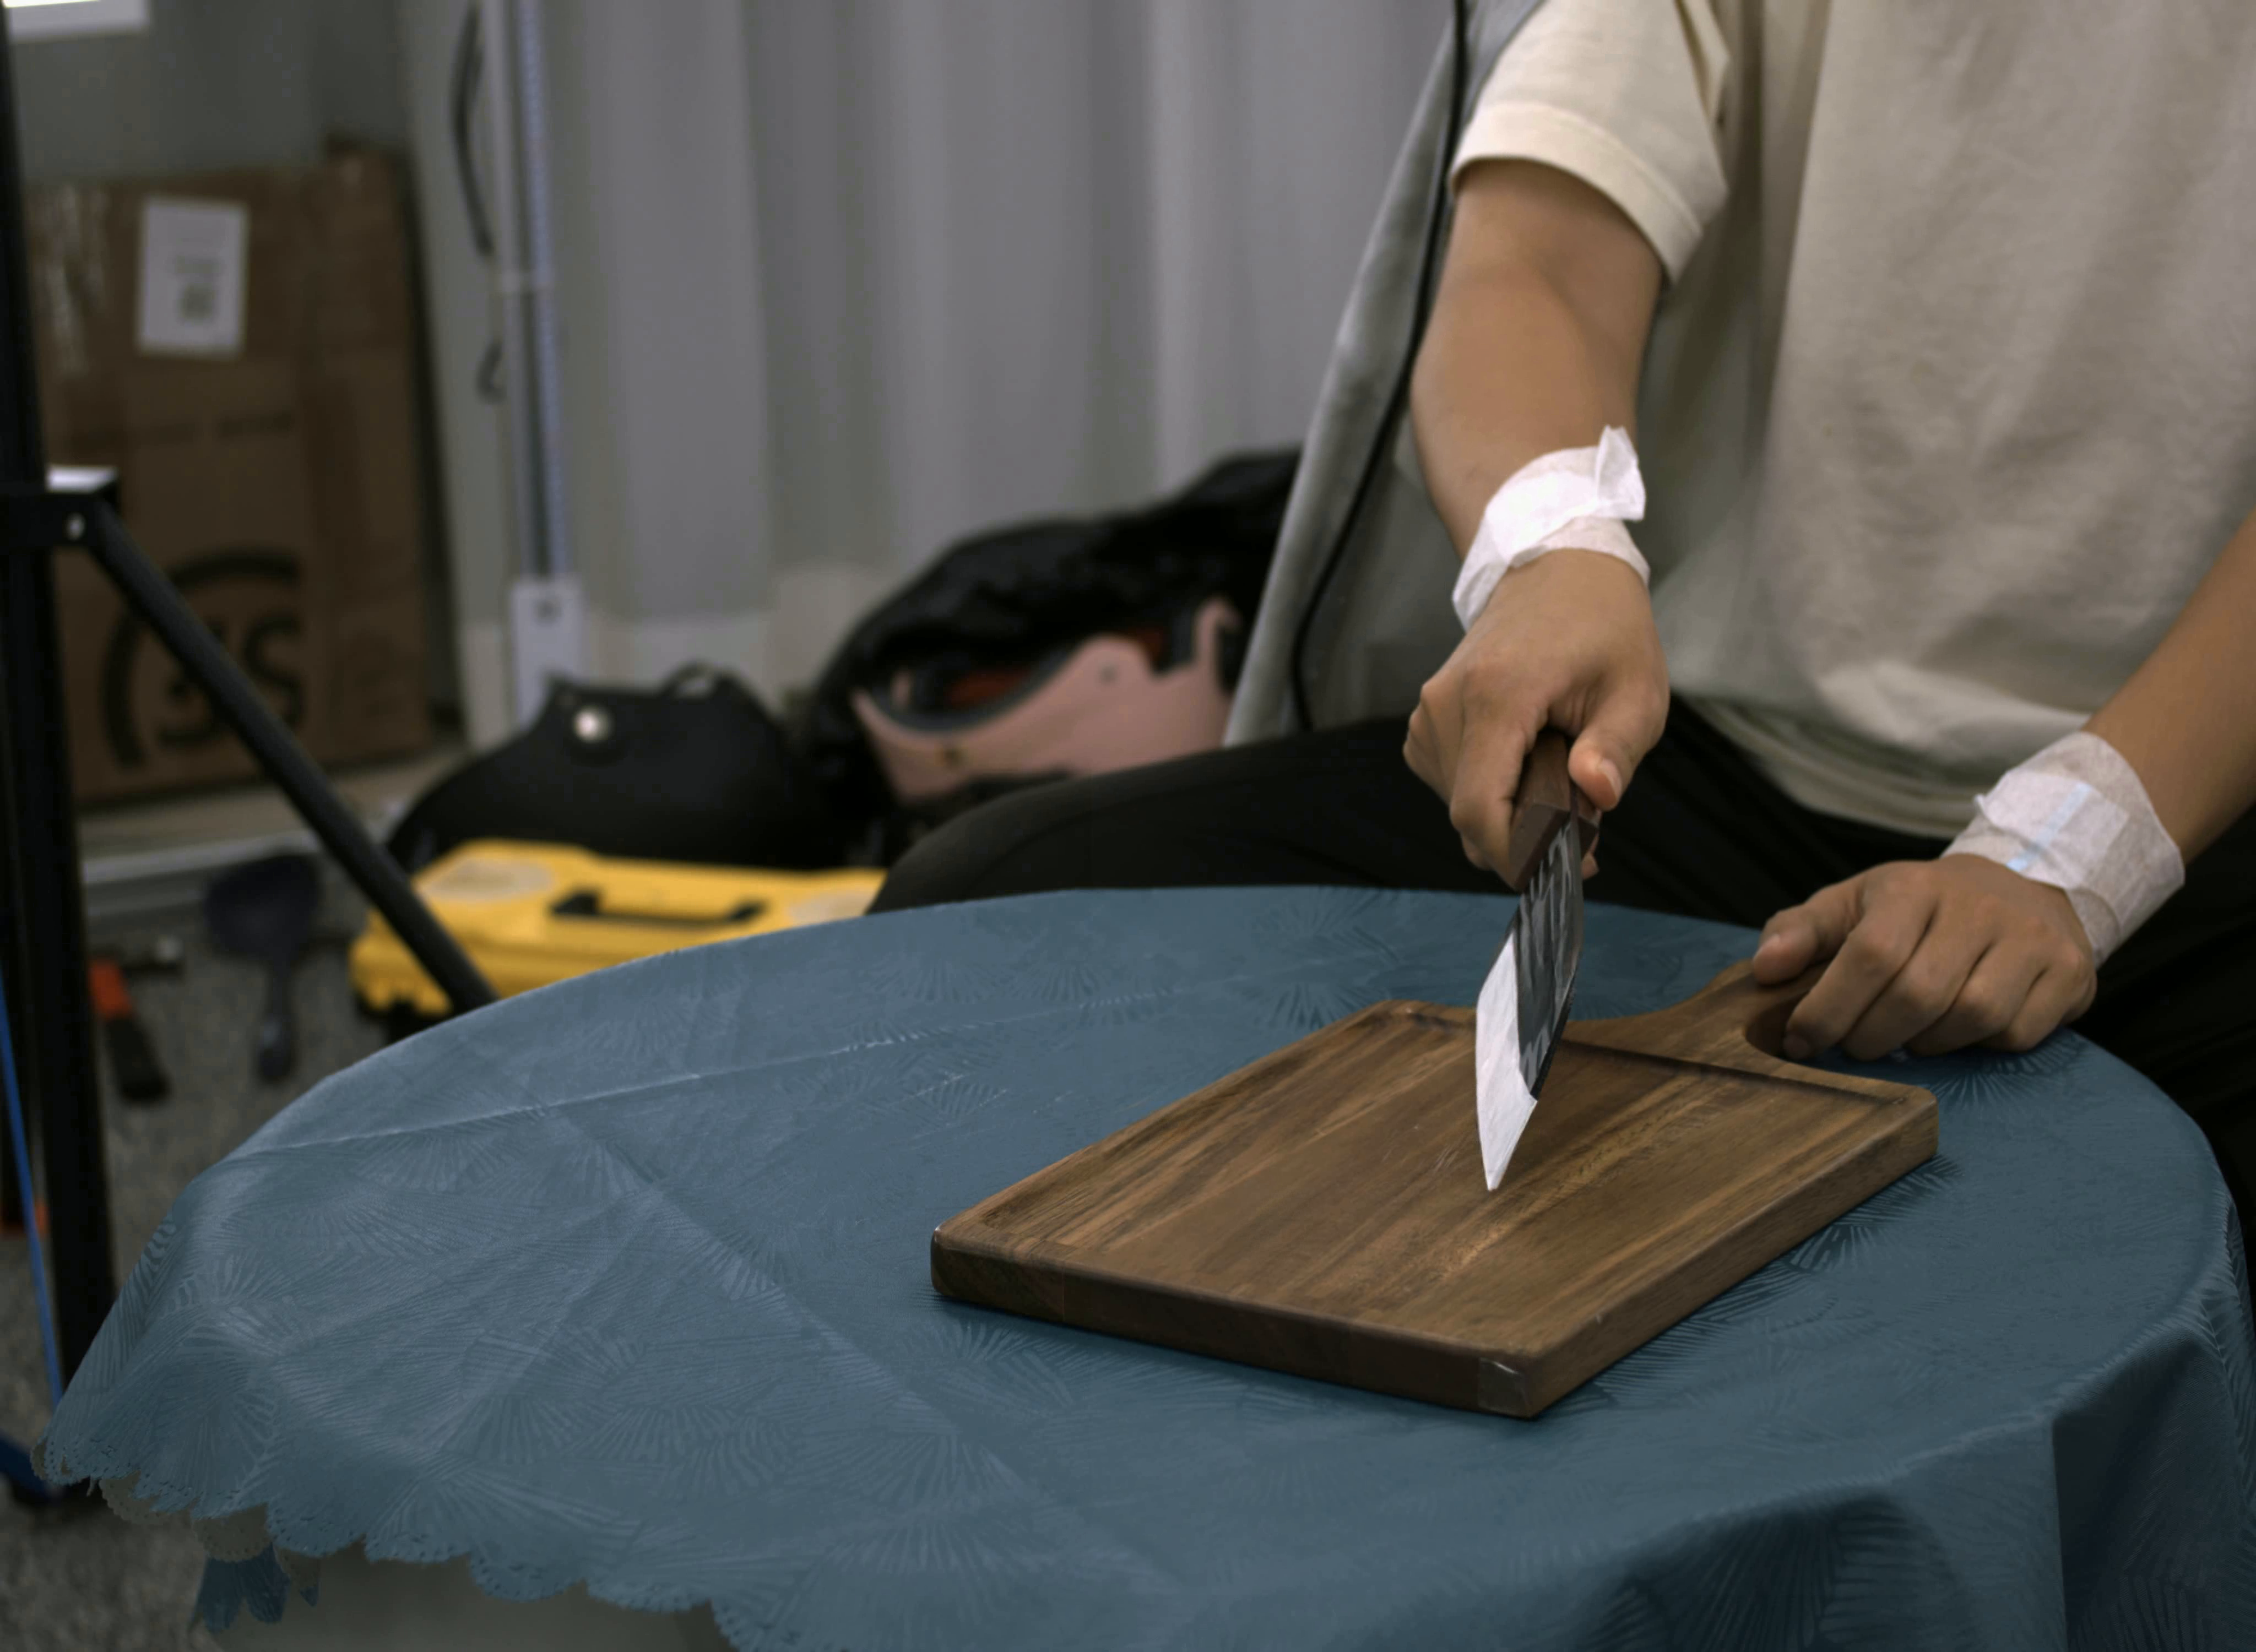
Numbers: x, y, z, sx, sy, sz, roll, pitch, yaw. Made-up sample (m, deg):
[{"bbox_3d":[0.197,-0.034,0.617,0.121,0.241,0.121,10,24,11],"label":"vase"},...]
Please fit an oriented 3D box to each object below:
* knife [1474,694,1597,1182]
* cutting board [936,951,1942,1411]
[{"bbox_3d":[0.121,0.030,1.601,0.024,0.068,0.300,26,19,-6],"label":"knife"},{"bbox_3d":[0.121,0.092,1.555,0.205,0.023,0.345,8,18,34],"label":"cutting board"}]
